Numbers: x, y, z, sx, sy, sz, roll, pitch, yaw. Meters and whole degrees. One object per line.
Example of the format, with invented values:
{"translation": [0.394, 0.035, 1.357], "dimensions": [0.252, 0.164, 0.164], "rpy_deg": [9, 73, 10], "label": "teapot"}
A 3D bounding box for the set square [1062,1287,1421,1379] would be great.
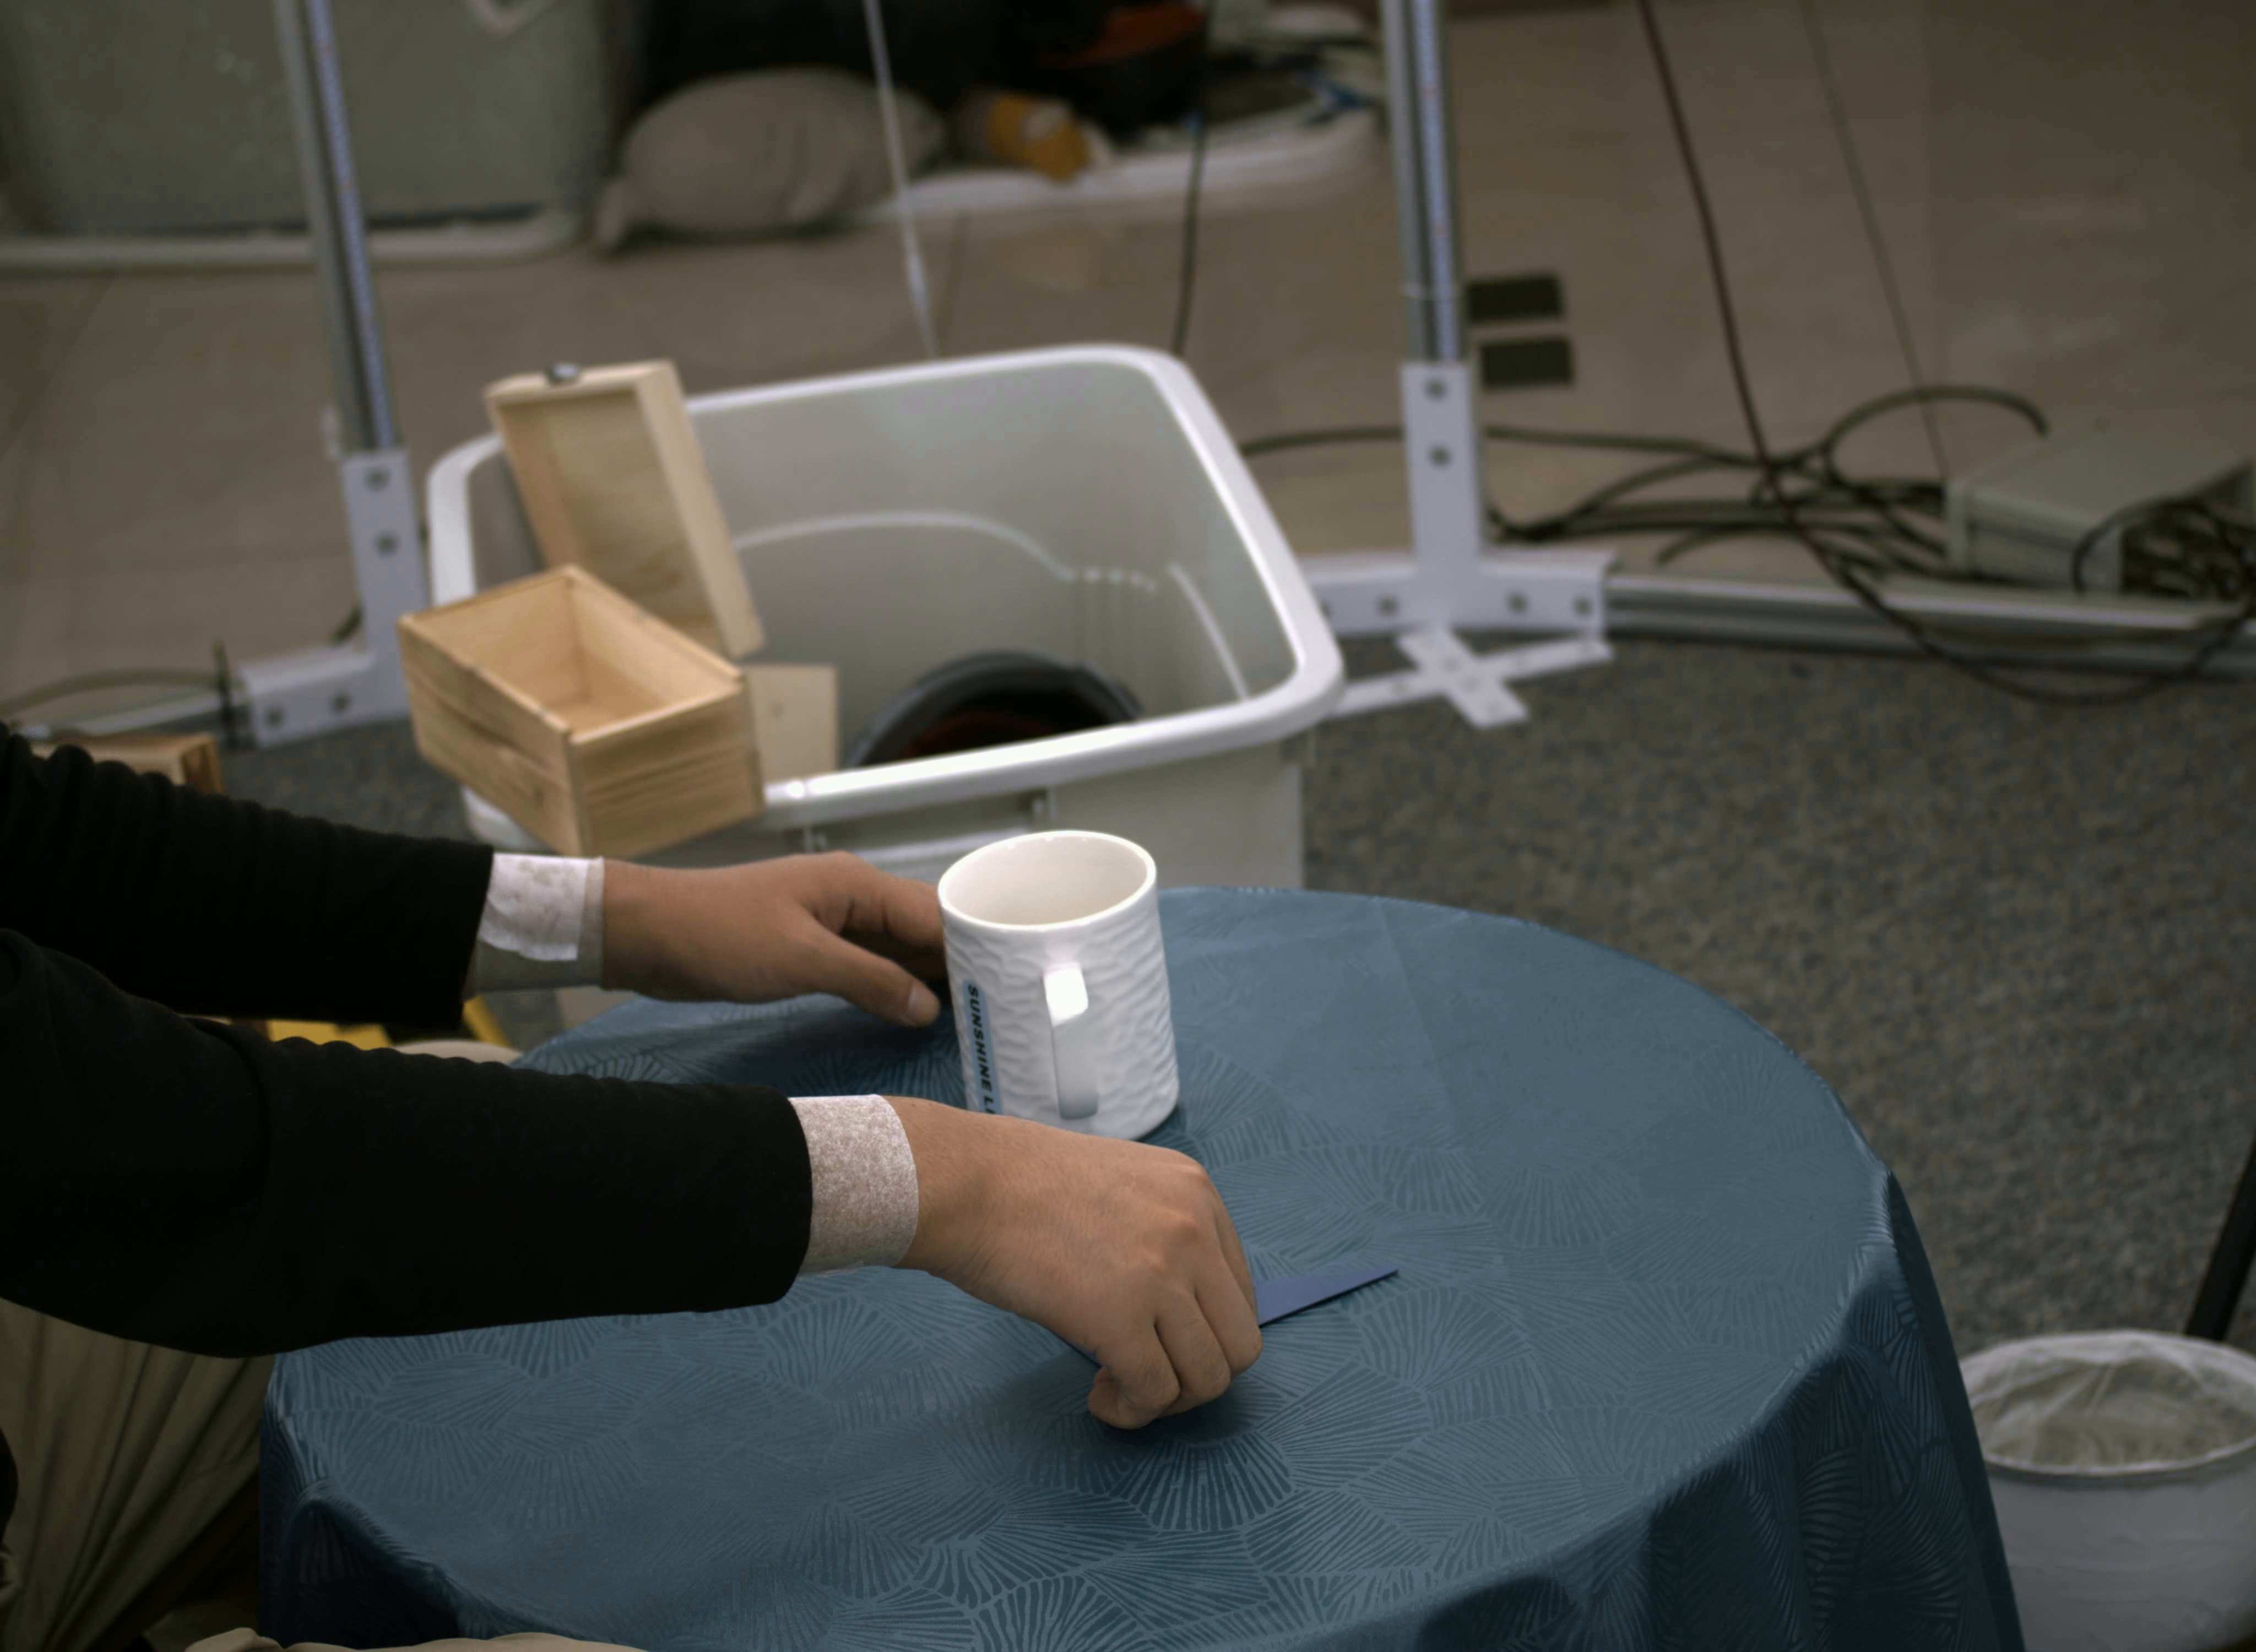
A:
{"translation": [0.039, 0.182, 2.041], "dimensions": [0.132, 0.006, 0.060], "rpy_deg": [-4, 22, 5], "label": "set square"}

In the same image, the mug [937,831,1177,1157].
{"translation": [-0.025, 0.072, 2.175], "dimensions": [0.085, 0.103, 0.116], "rpy_deg": [-7, 25, -3], "label": "mug"}
